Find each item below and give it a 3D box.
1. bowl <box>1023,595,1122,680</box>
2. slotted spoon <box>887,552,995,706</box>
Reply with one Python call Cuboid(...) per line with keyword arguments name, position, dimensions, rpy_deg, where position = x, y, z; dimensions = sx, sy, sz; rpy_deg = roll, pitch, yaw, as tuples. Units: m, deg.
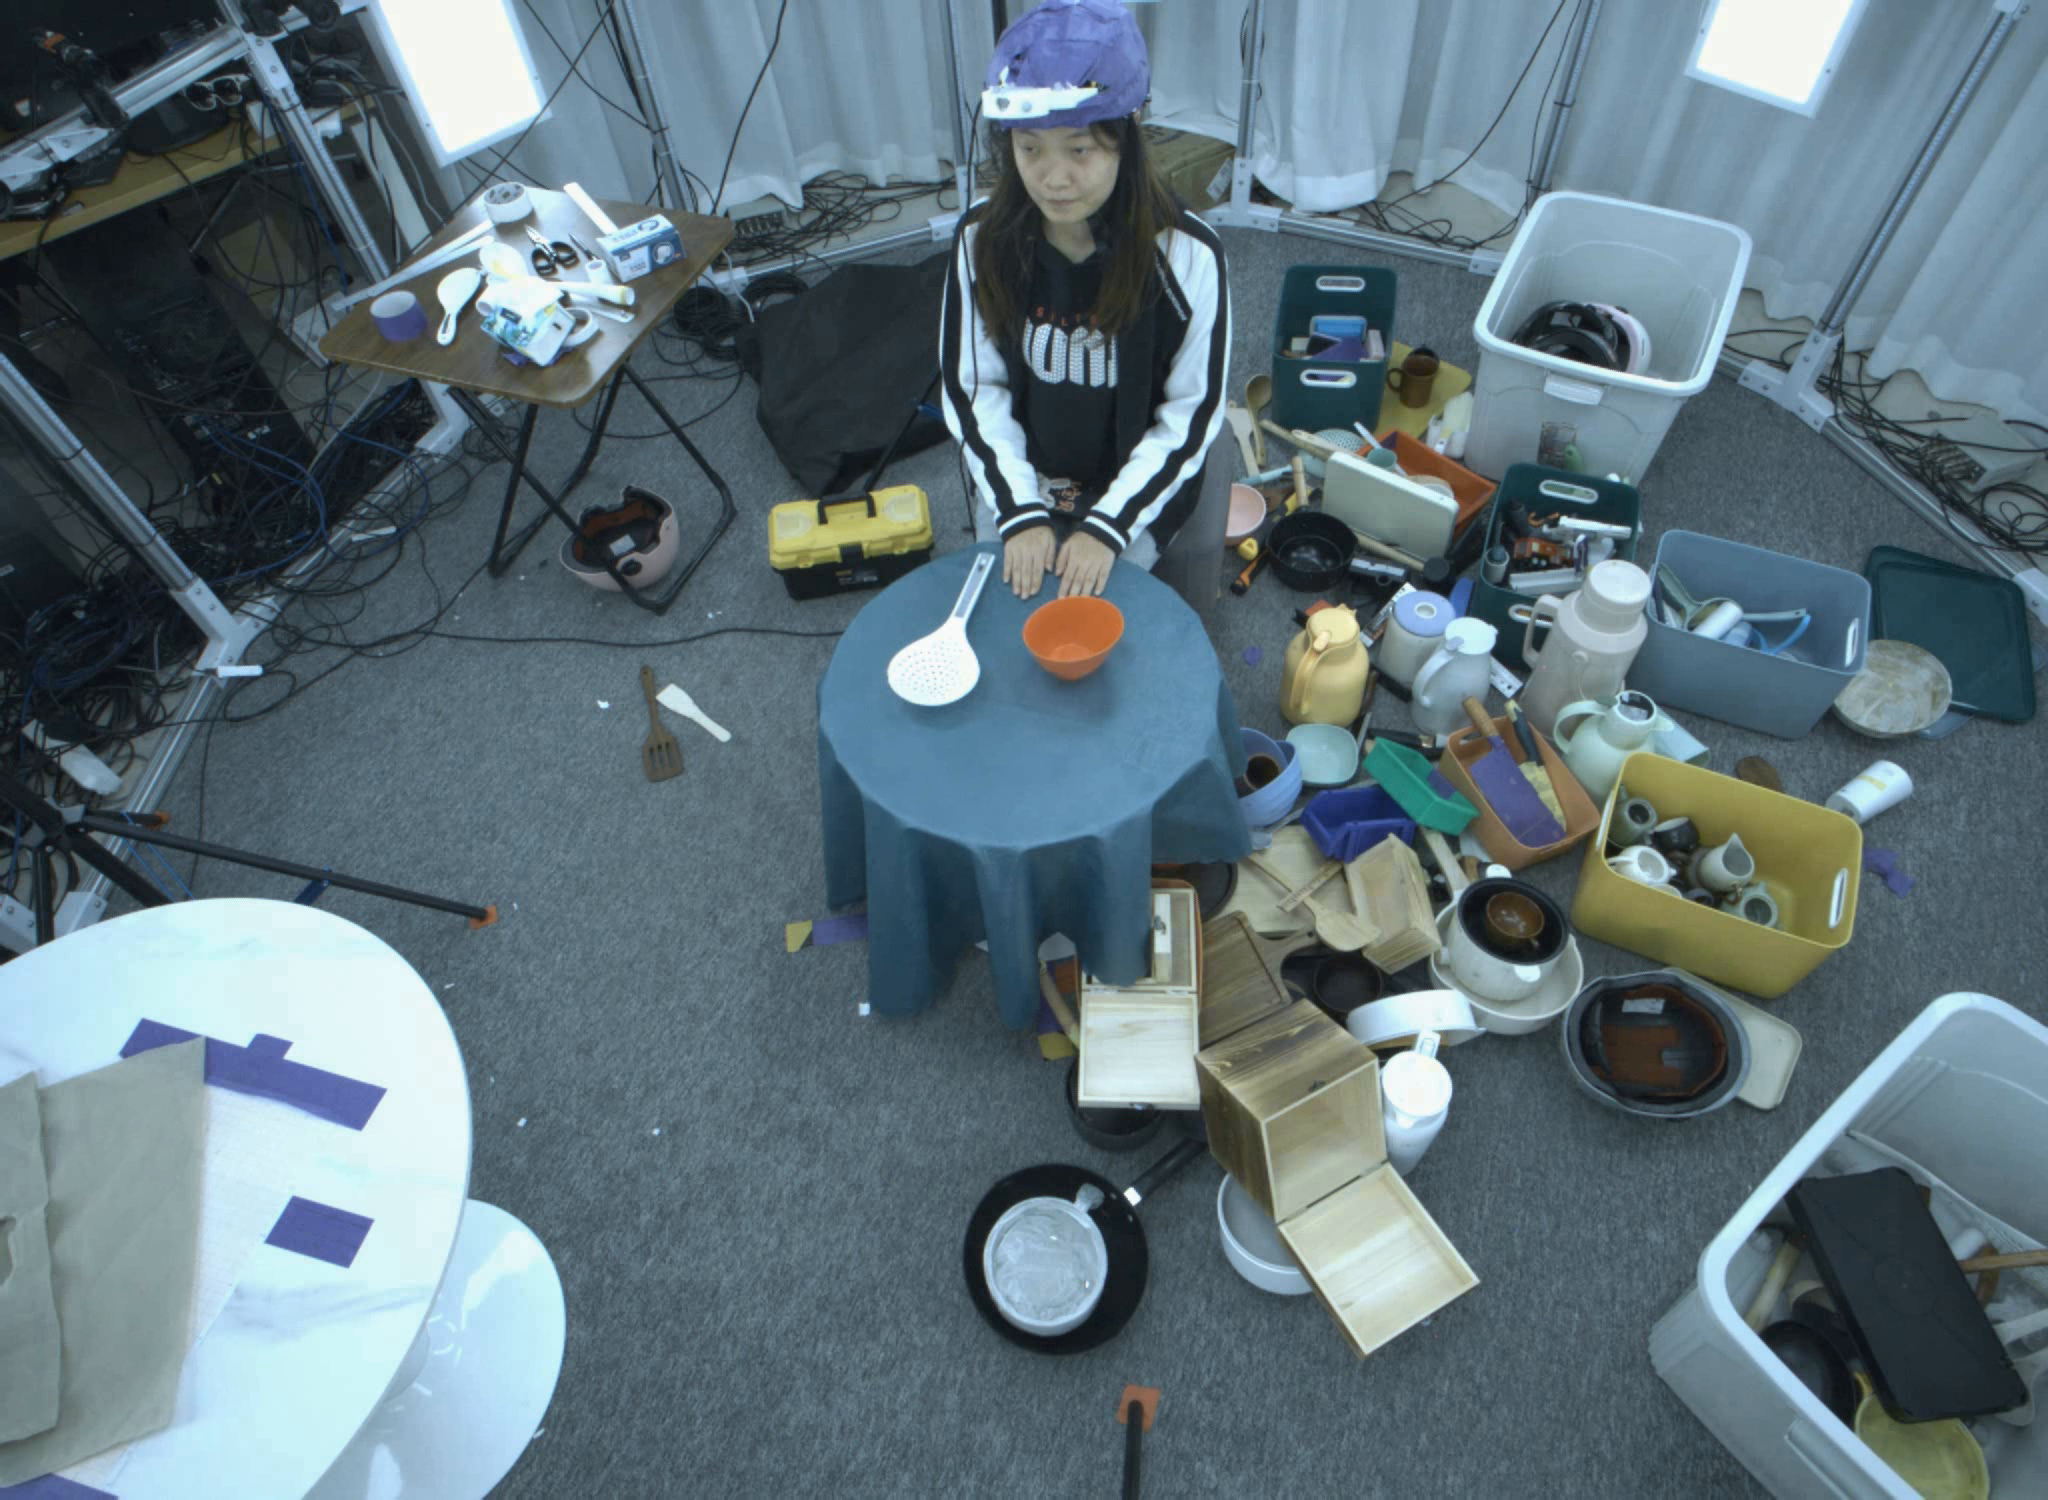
Cuboid(name="bowl", position=(0.074, -0.154, 1.833), dimensions=(0.148, 0.106, 0.146), rpy_deg=(-2, 54, 4))
Cuboid(name="slotted spoon", position=(-0.108, -0.192, 1.899), dimensions=(0.135, 0.046, 0.348), rpy_deg=(13, 56, 9))
